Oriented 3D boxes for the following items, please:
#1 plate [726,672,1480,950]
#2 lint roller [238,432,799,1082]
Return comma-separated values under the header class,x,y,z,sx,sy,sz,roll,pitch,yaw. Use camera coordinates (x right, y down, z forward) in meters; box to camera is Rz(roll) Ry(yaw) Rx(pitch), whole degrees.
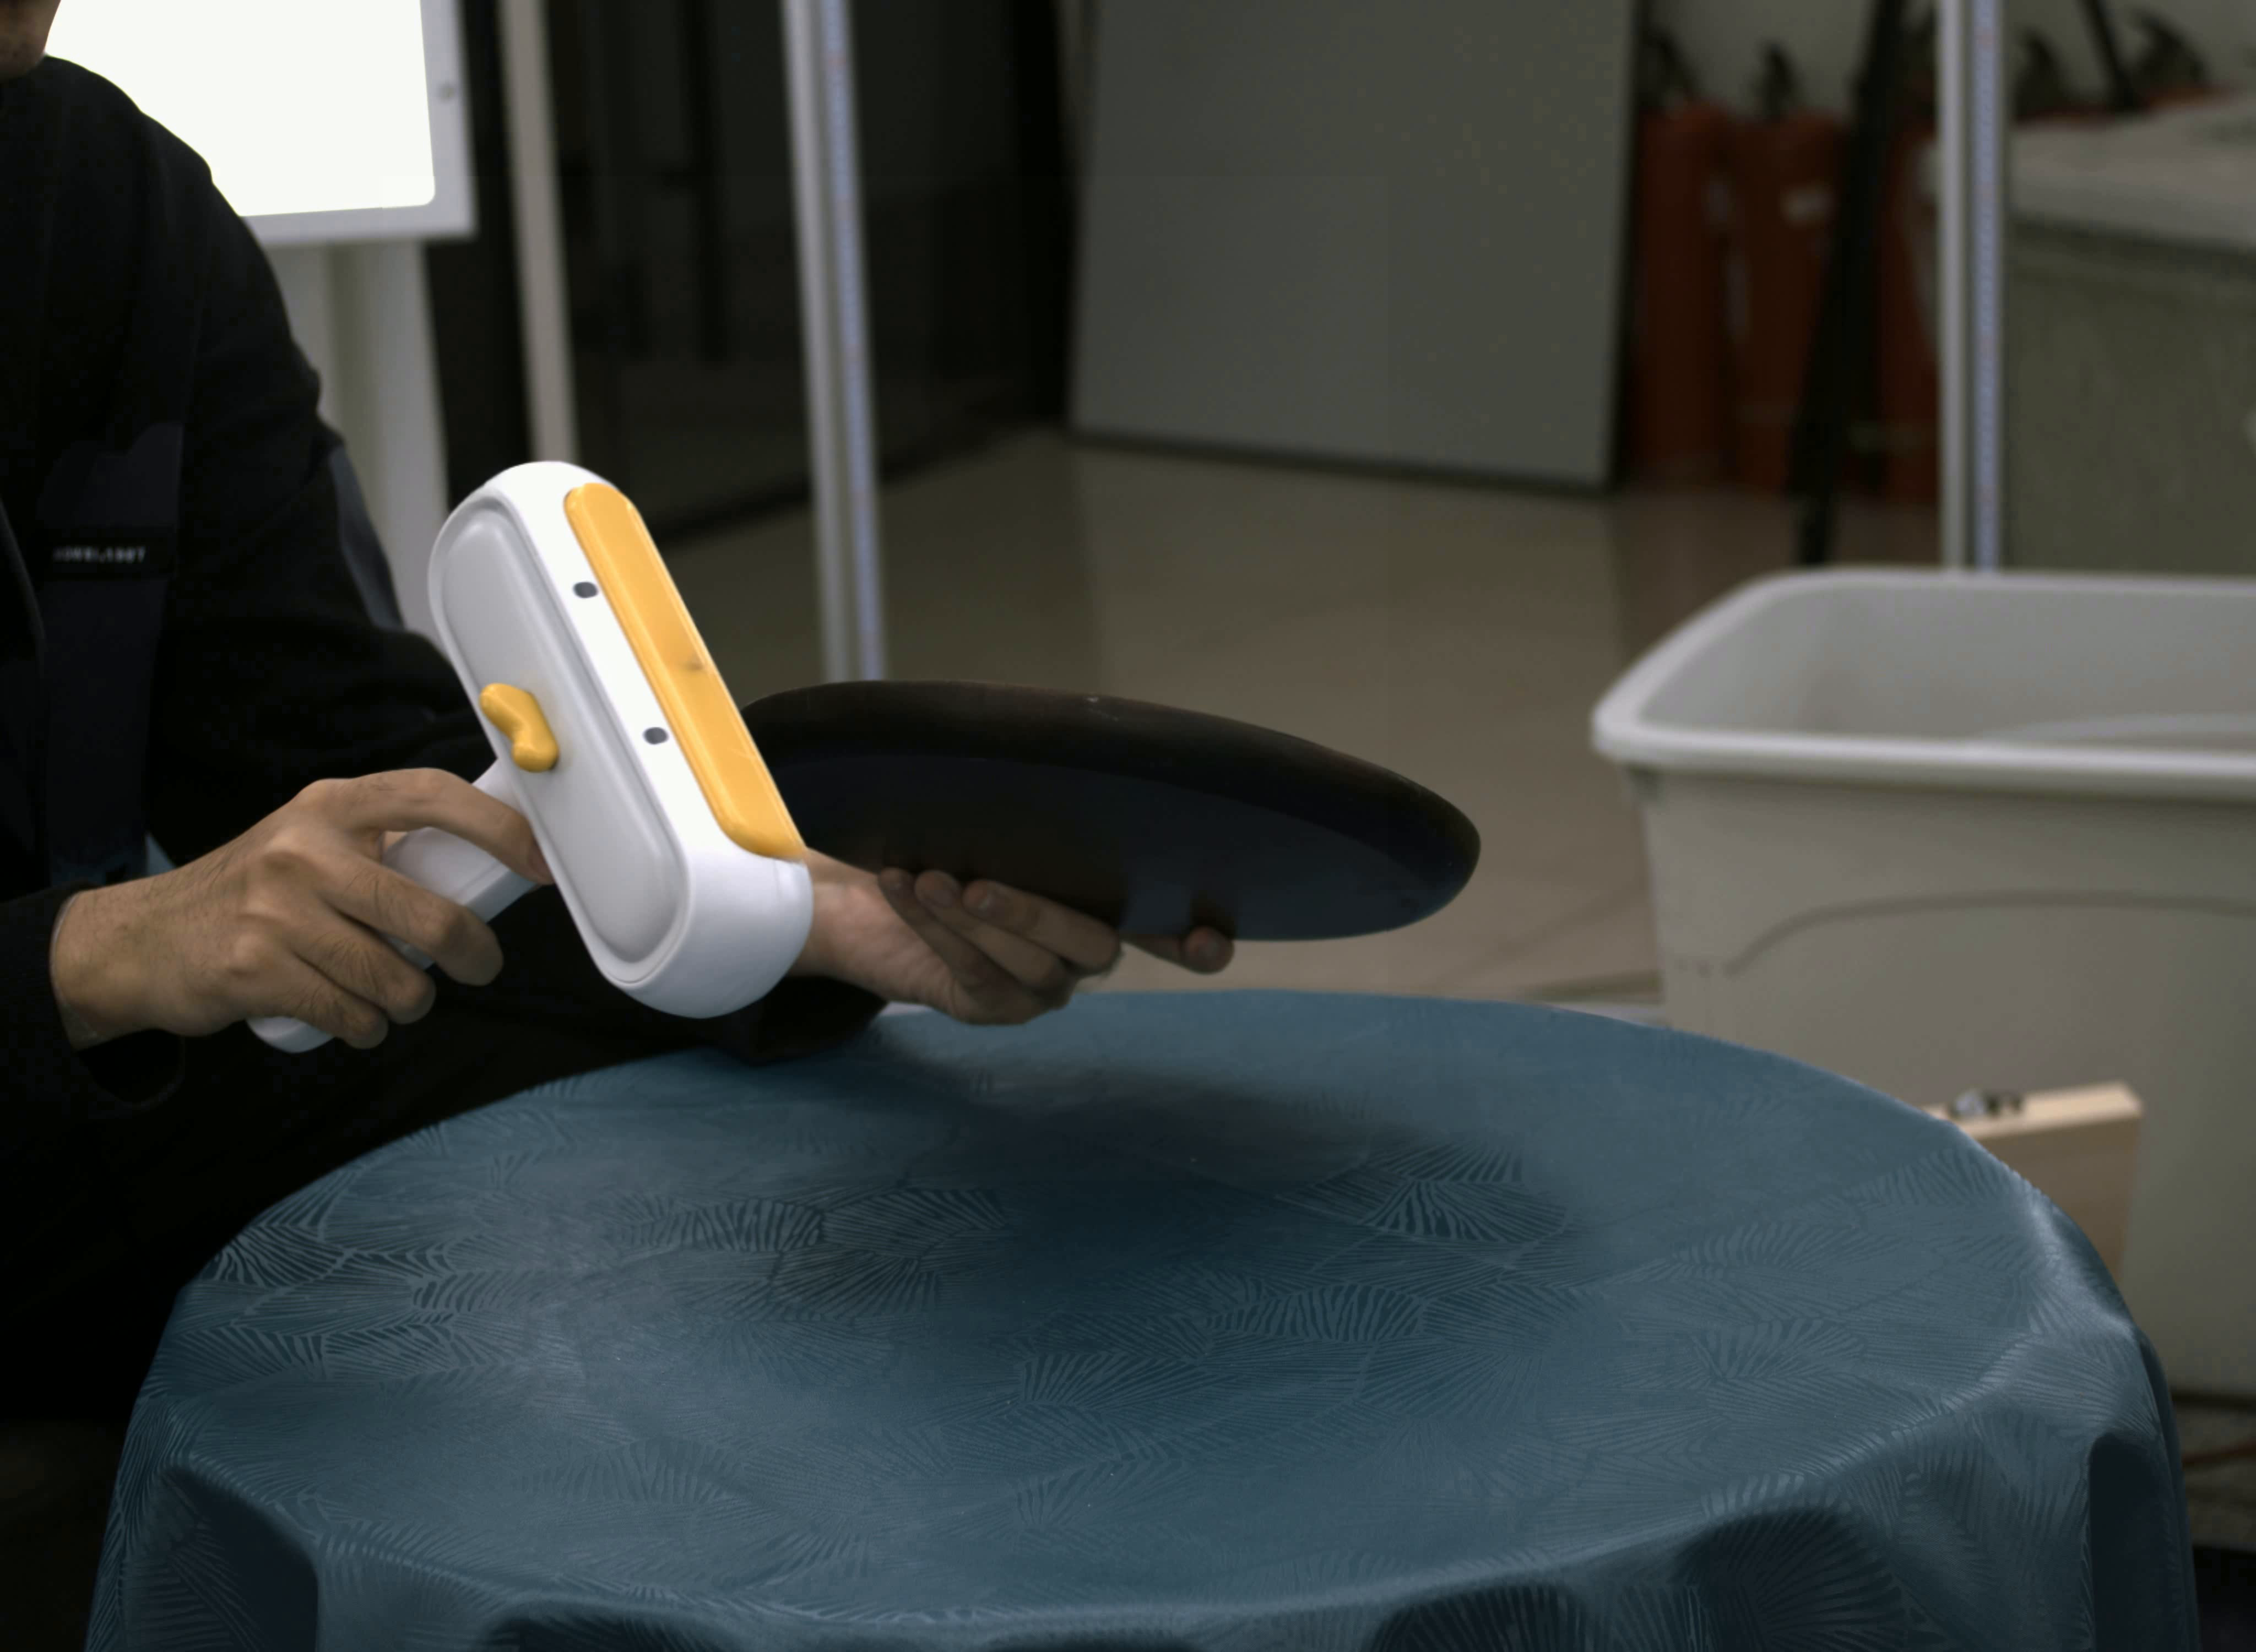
class,x,y,z,sx,sy,sz,roll,pitch,yaw
plate,-0.009,-0.003,1.770,0.252,0.029,0.255,9,-17,2
lint roller,-0.199,0.004,1.659,0.072,0.194,0.195,6,42,-50
